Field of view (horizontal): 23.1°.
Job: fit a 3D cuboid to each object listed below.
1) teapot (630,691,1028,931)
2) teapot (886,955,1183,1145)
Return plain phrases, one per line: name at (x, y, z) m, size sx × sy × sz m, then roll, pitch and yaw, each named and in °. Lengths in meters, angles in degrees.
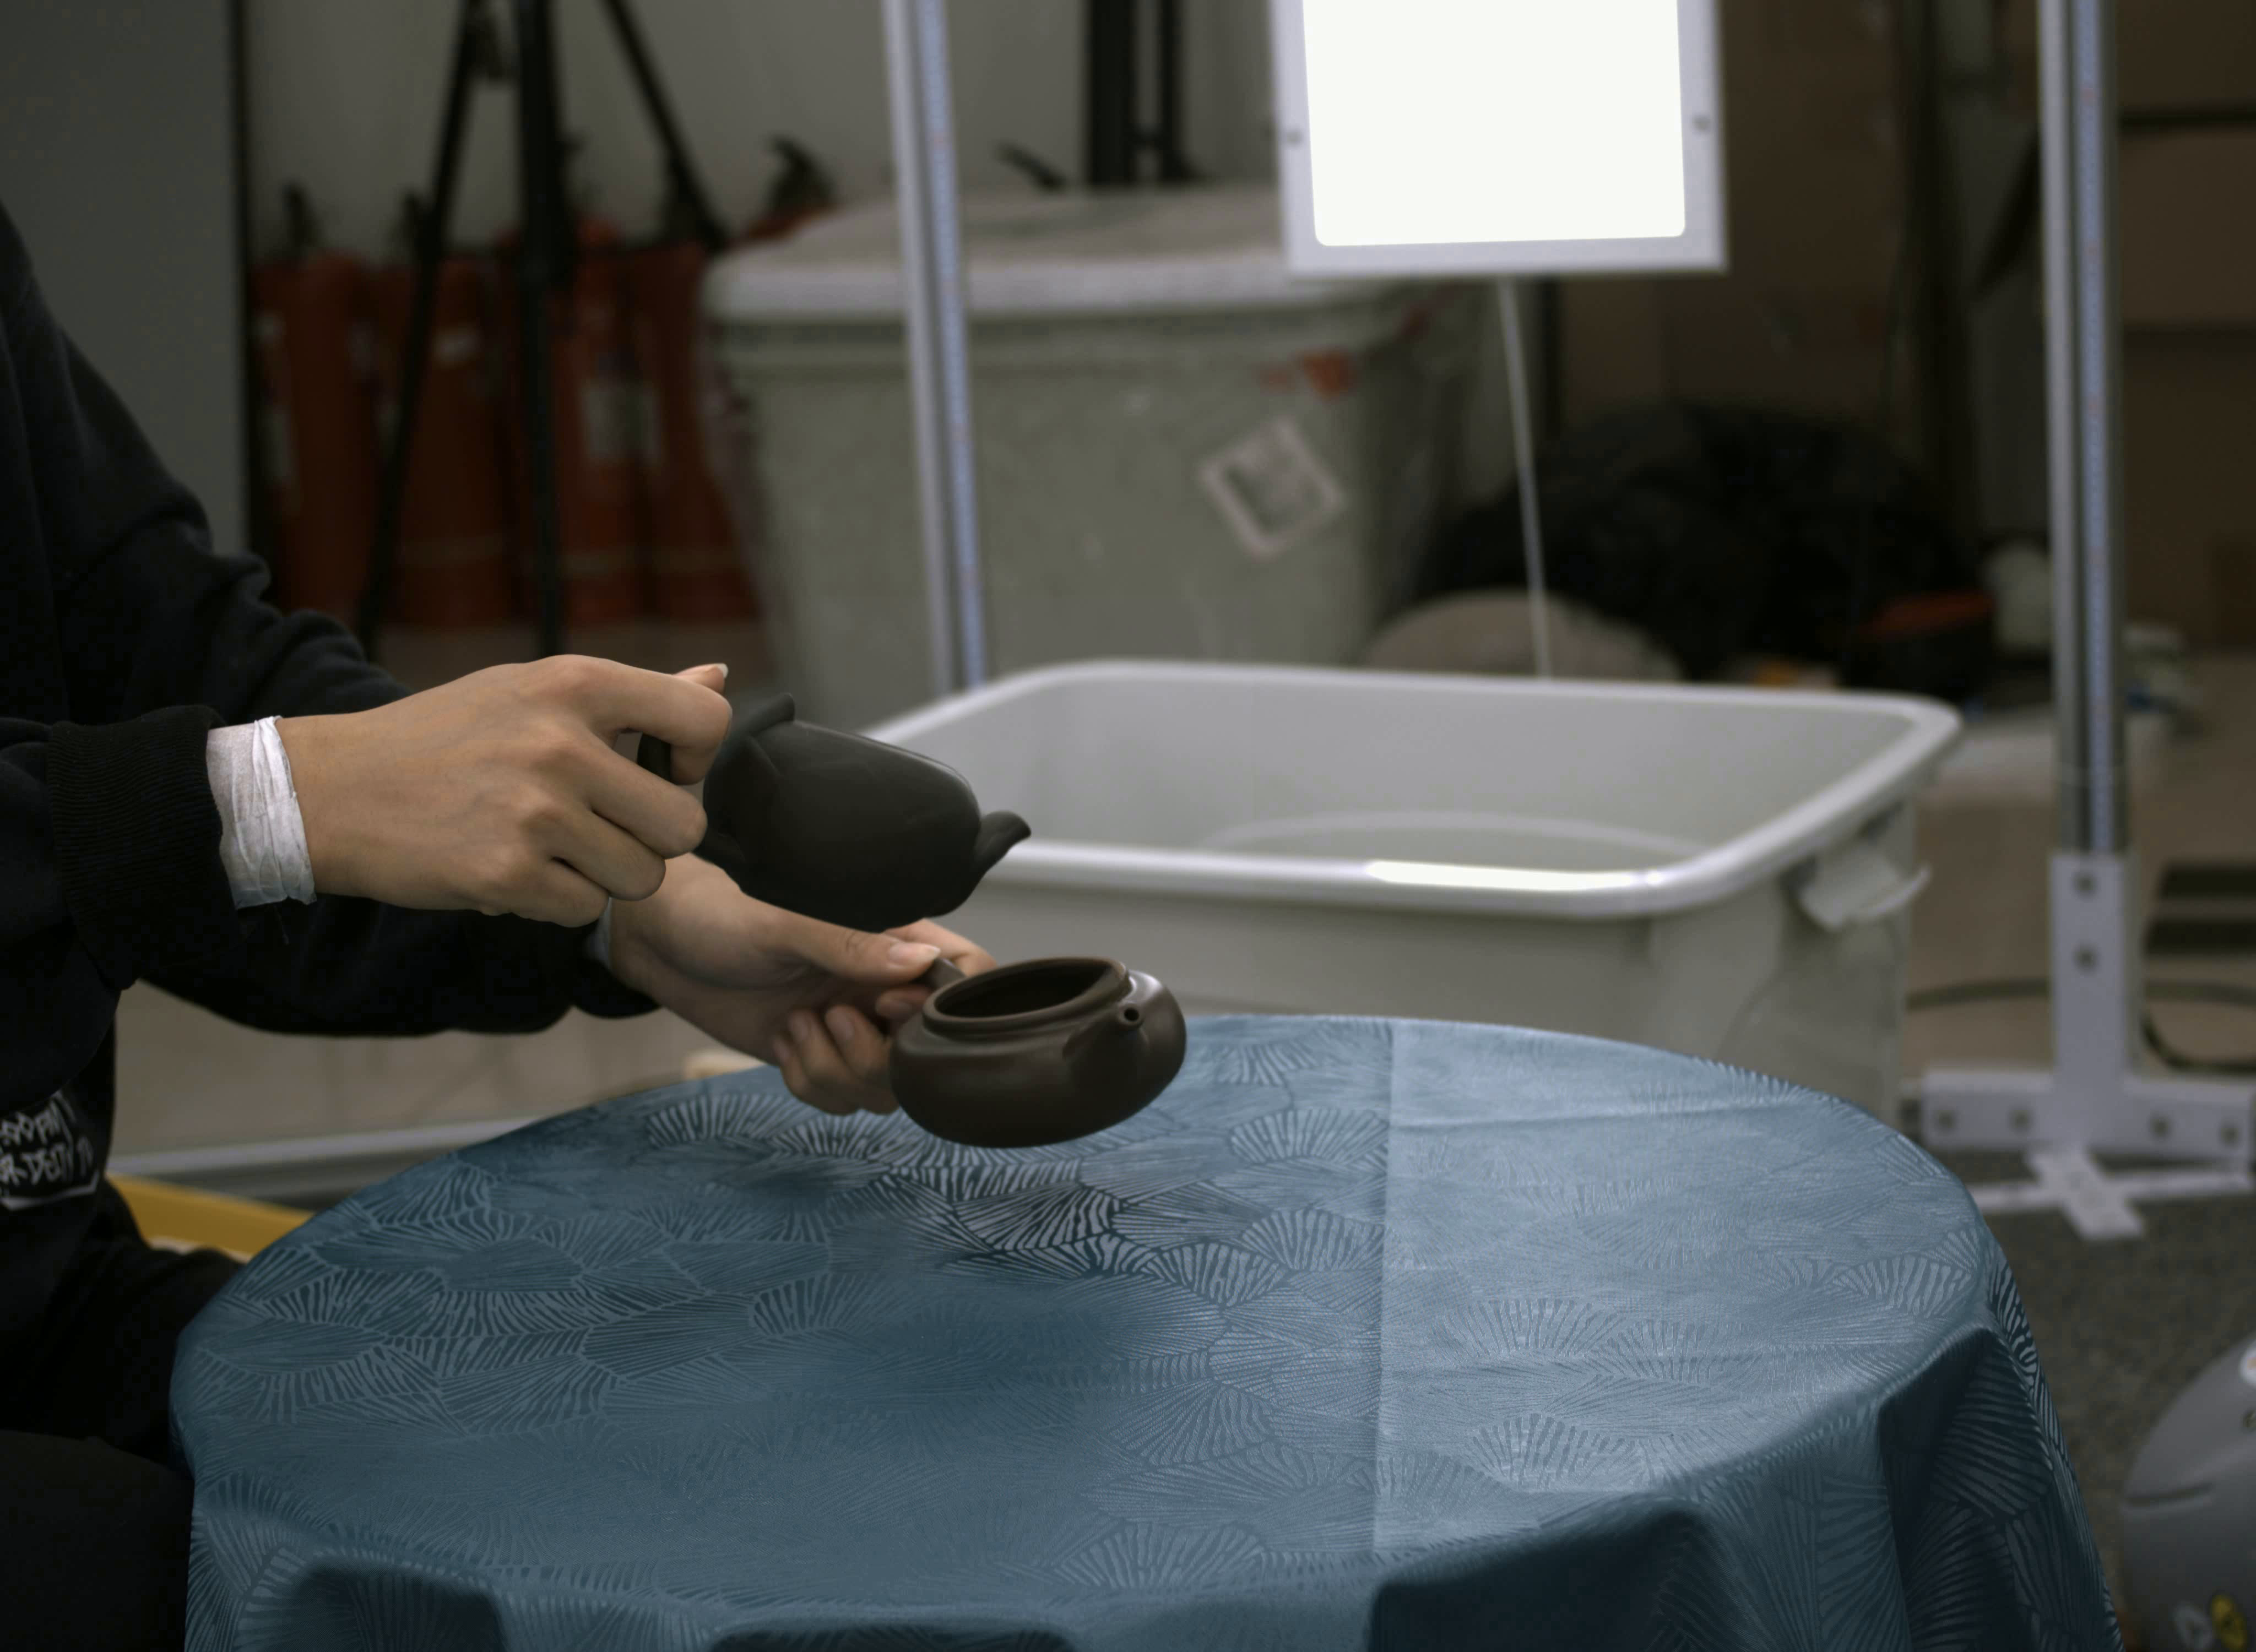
teapot at (-0.097, -0.004, 1.788) m, size 0.151 × 0.064 × 0.094 m, roll 20°, pitch -8°, yaw -34°
teapot at (-0.035, 0.074, 1.880) m, size 0.100 × 0.054 × 0.156 m, roll -18°, pitch 16°, yaw -33°
